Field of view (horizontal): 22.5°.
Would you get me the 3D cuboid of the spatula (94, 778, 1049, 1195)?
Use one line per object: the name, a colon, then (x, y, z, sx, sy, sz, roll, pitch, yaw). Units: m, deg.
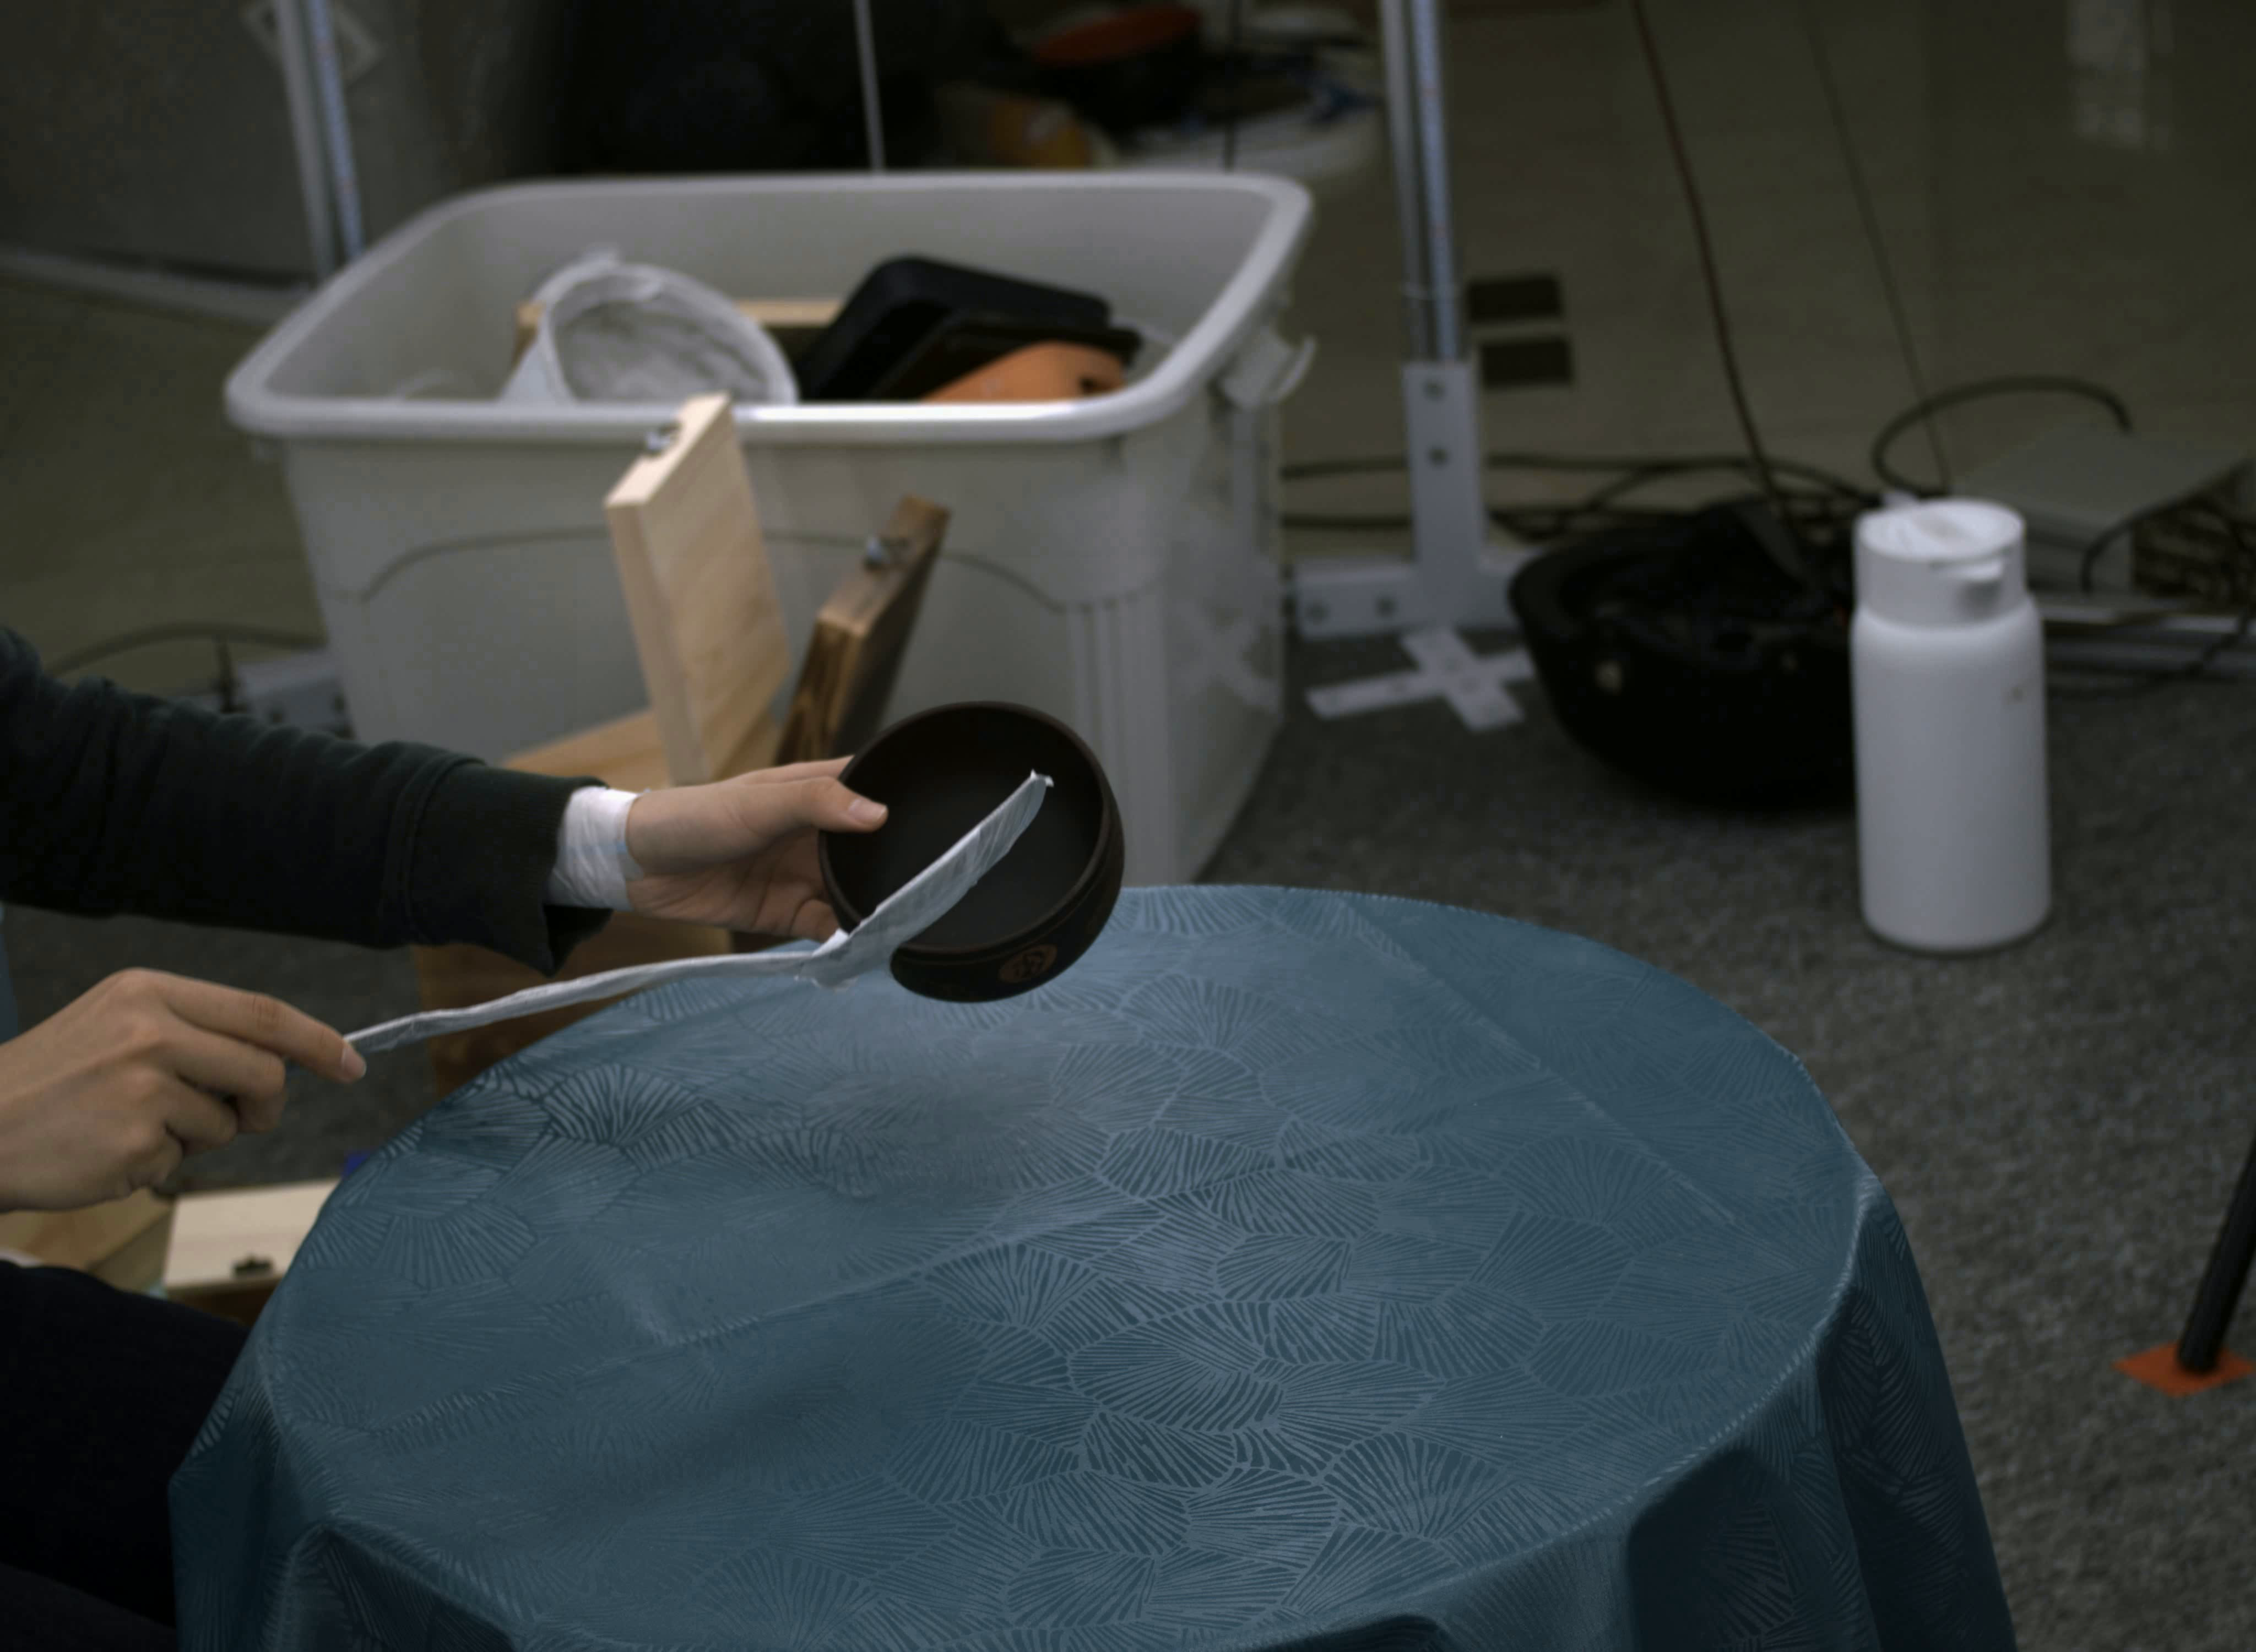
spatula: (-0.187, 0.056, 1.945, 0.363, 0.044, 0.100, -15, -15, -24)

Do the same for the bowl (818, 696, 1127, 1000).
bowl: (-0.057, 0.016, 2.182, 0.118, 0.071, 0.116, -5, 57, 8)
